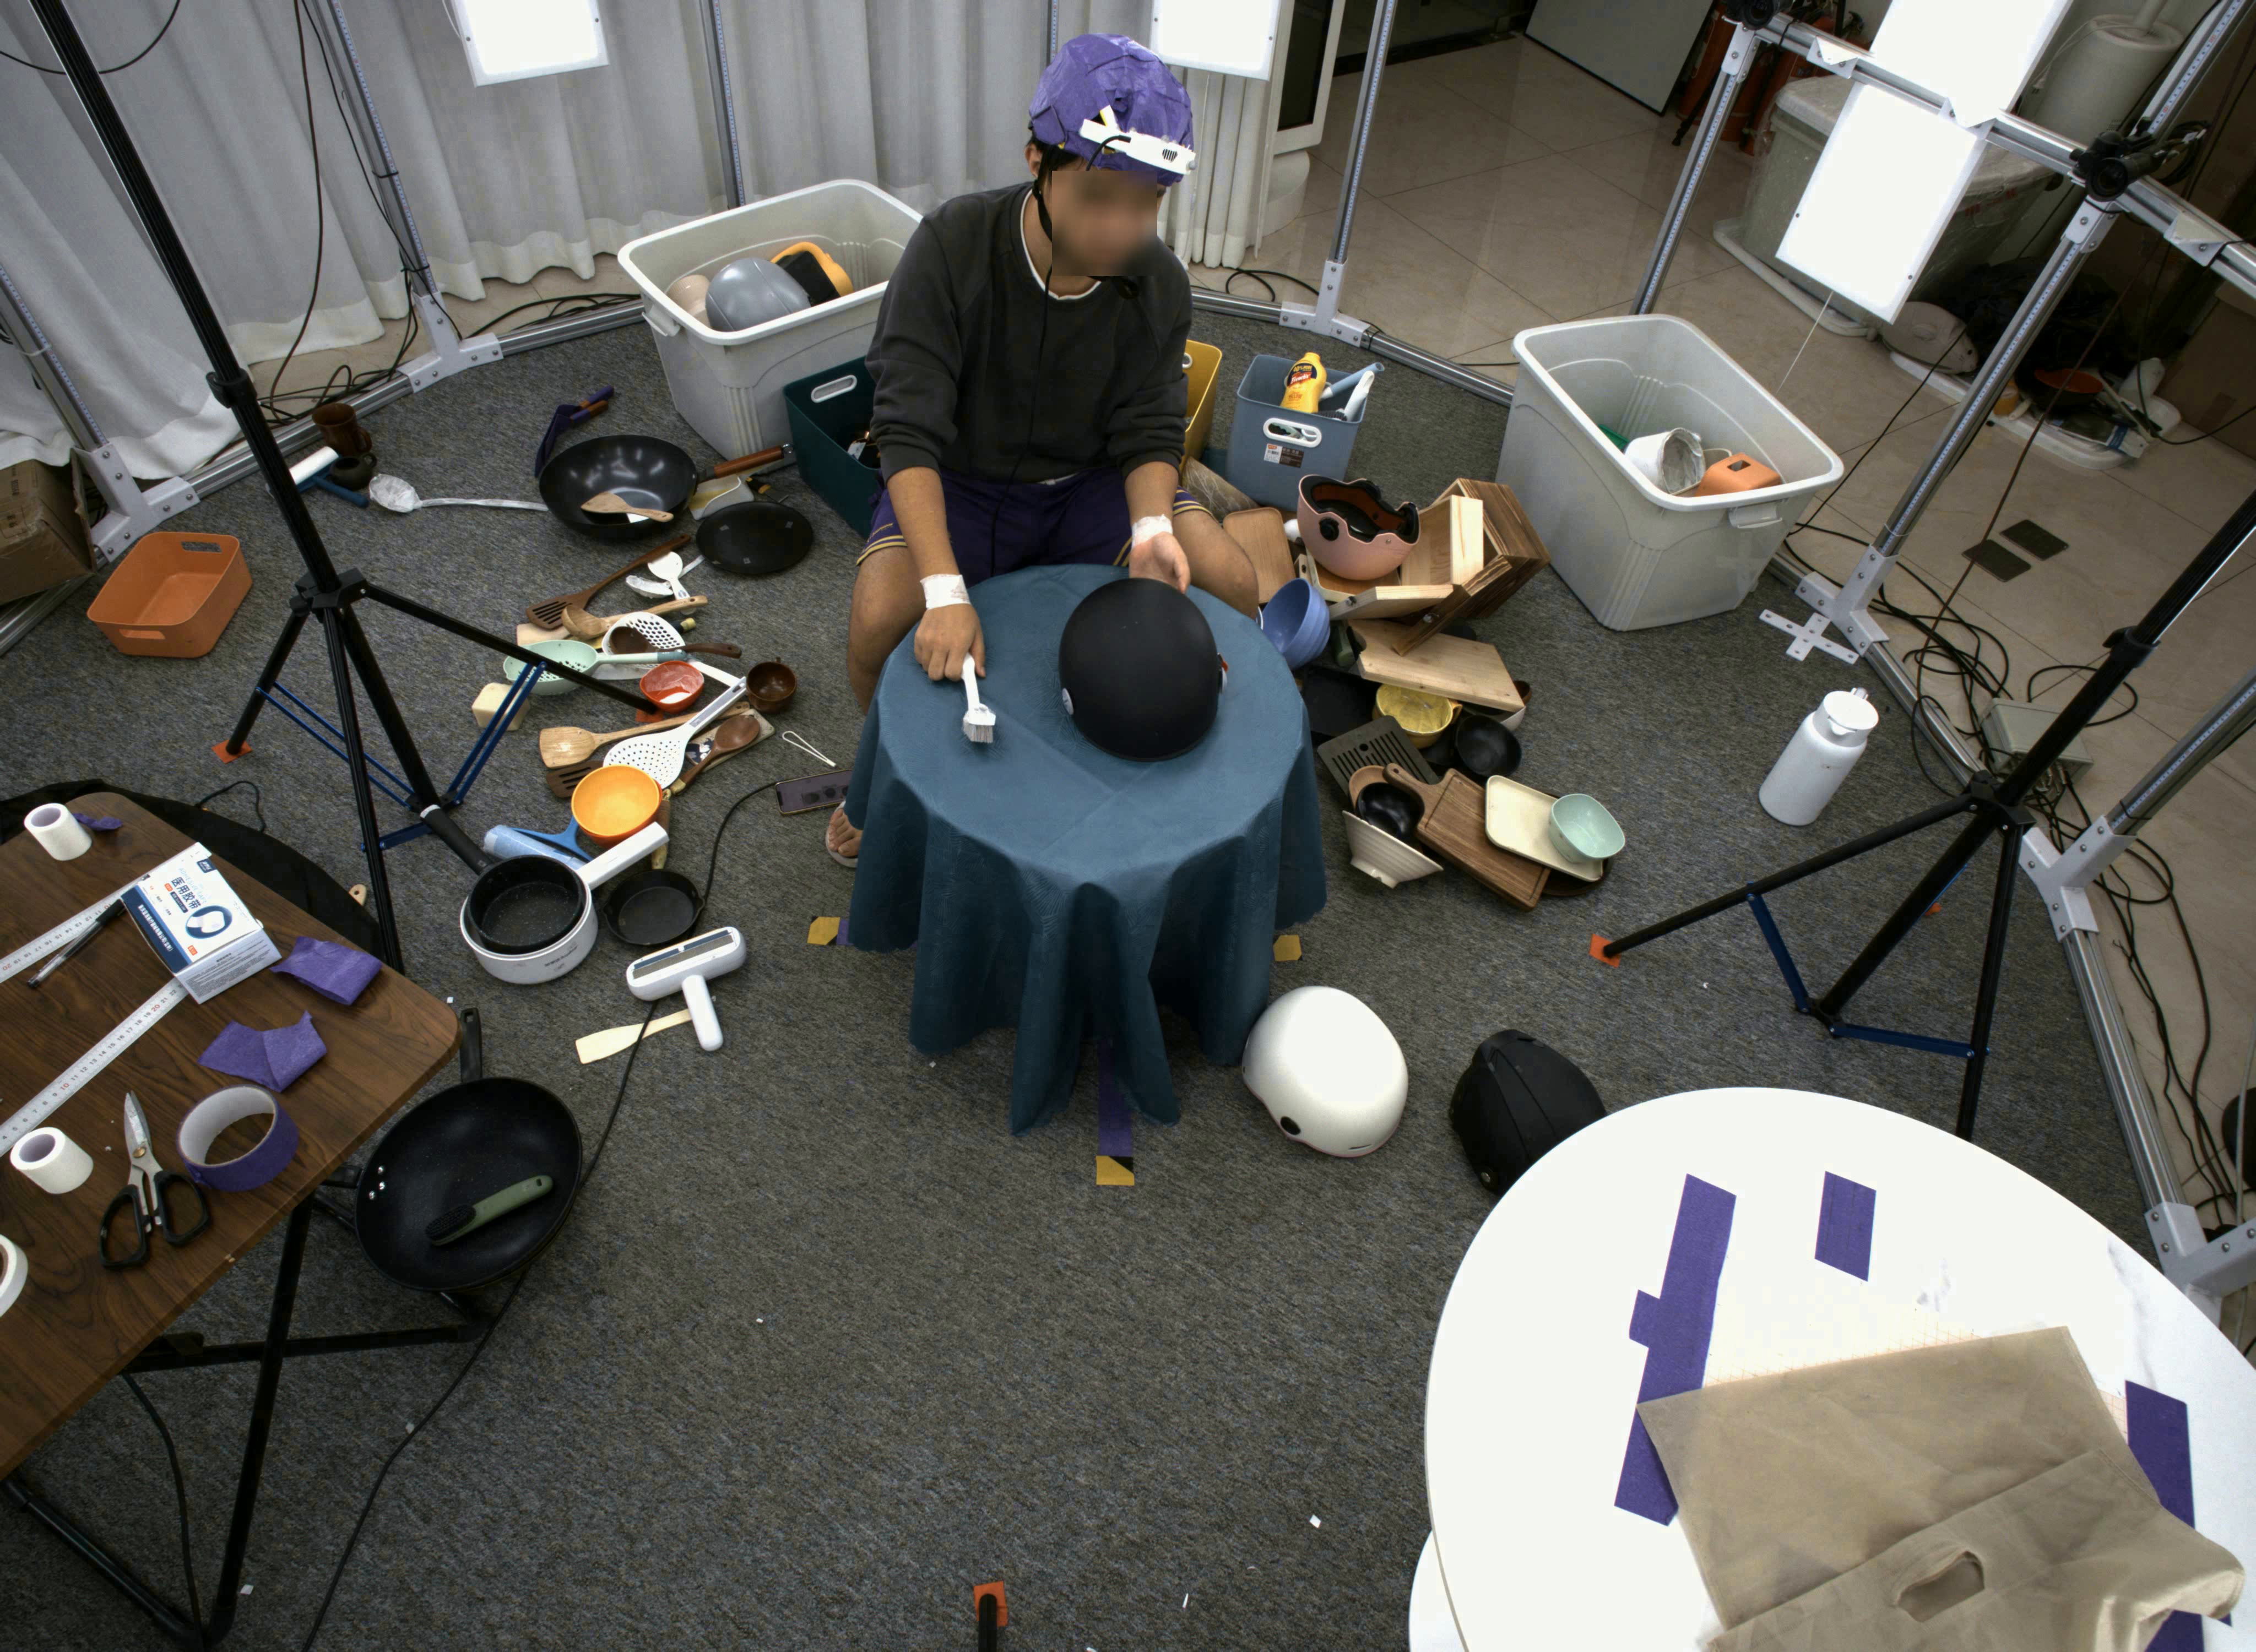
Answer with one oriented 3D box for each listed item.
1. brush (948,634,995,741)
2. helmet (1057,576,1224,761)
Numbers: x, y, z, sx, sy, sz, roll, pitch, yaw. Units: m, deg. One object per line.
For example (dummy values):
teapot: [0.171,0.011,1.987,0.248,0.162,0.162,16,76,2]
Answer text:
brush: [-0.225,-0.193,1.804,0.034,0.049,0.249,2,35,-20]
helmet: [0.015,-0.239,1.773,0.230,0.163,0.280,-7,52,-5]
